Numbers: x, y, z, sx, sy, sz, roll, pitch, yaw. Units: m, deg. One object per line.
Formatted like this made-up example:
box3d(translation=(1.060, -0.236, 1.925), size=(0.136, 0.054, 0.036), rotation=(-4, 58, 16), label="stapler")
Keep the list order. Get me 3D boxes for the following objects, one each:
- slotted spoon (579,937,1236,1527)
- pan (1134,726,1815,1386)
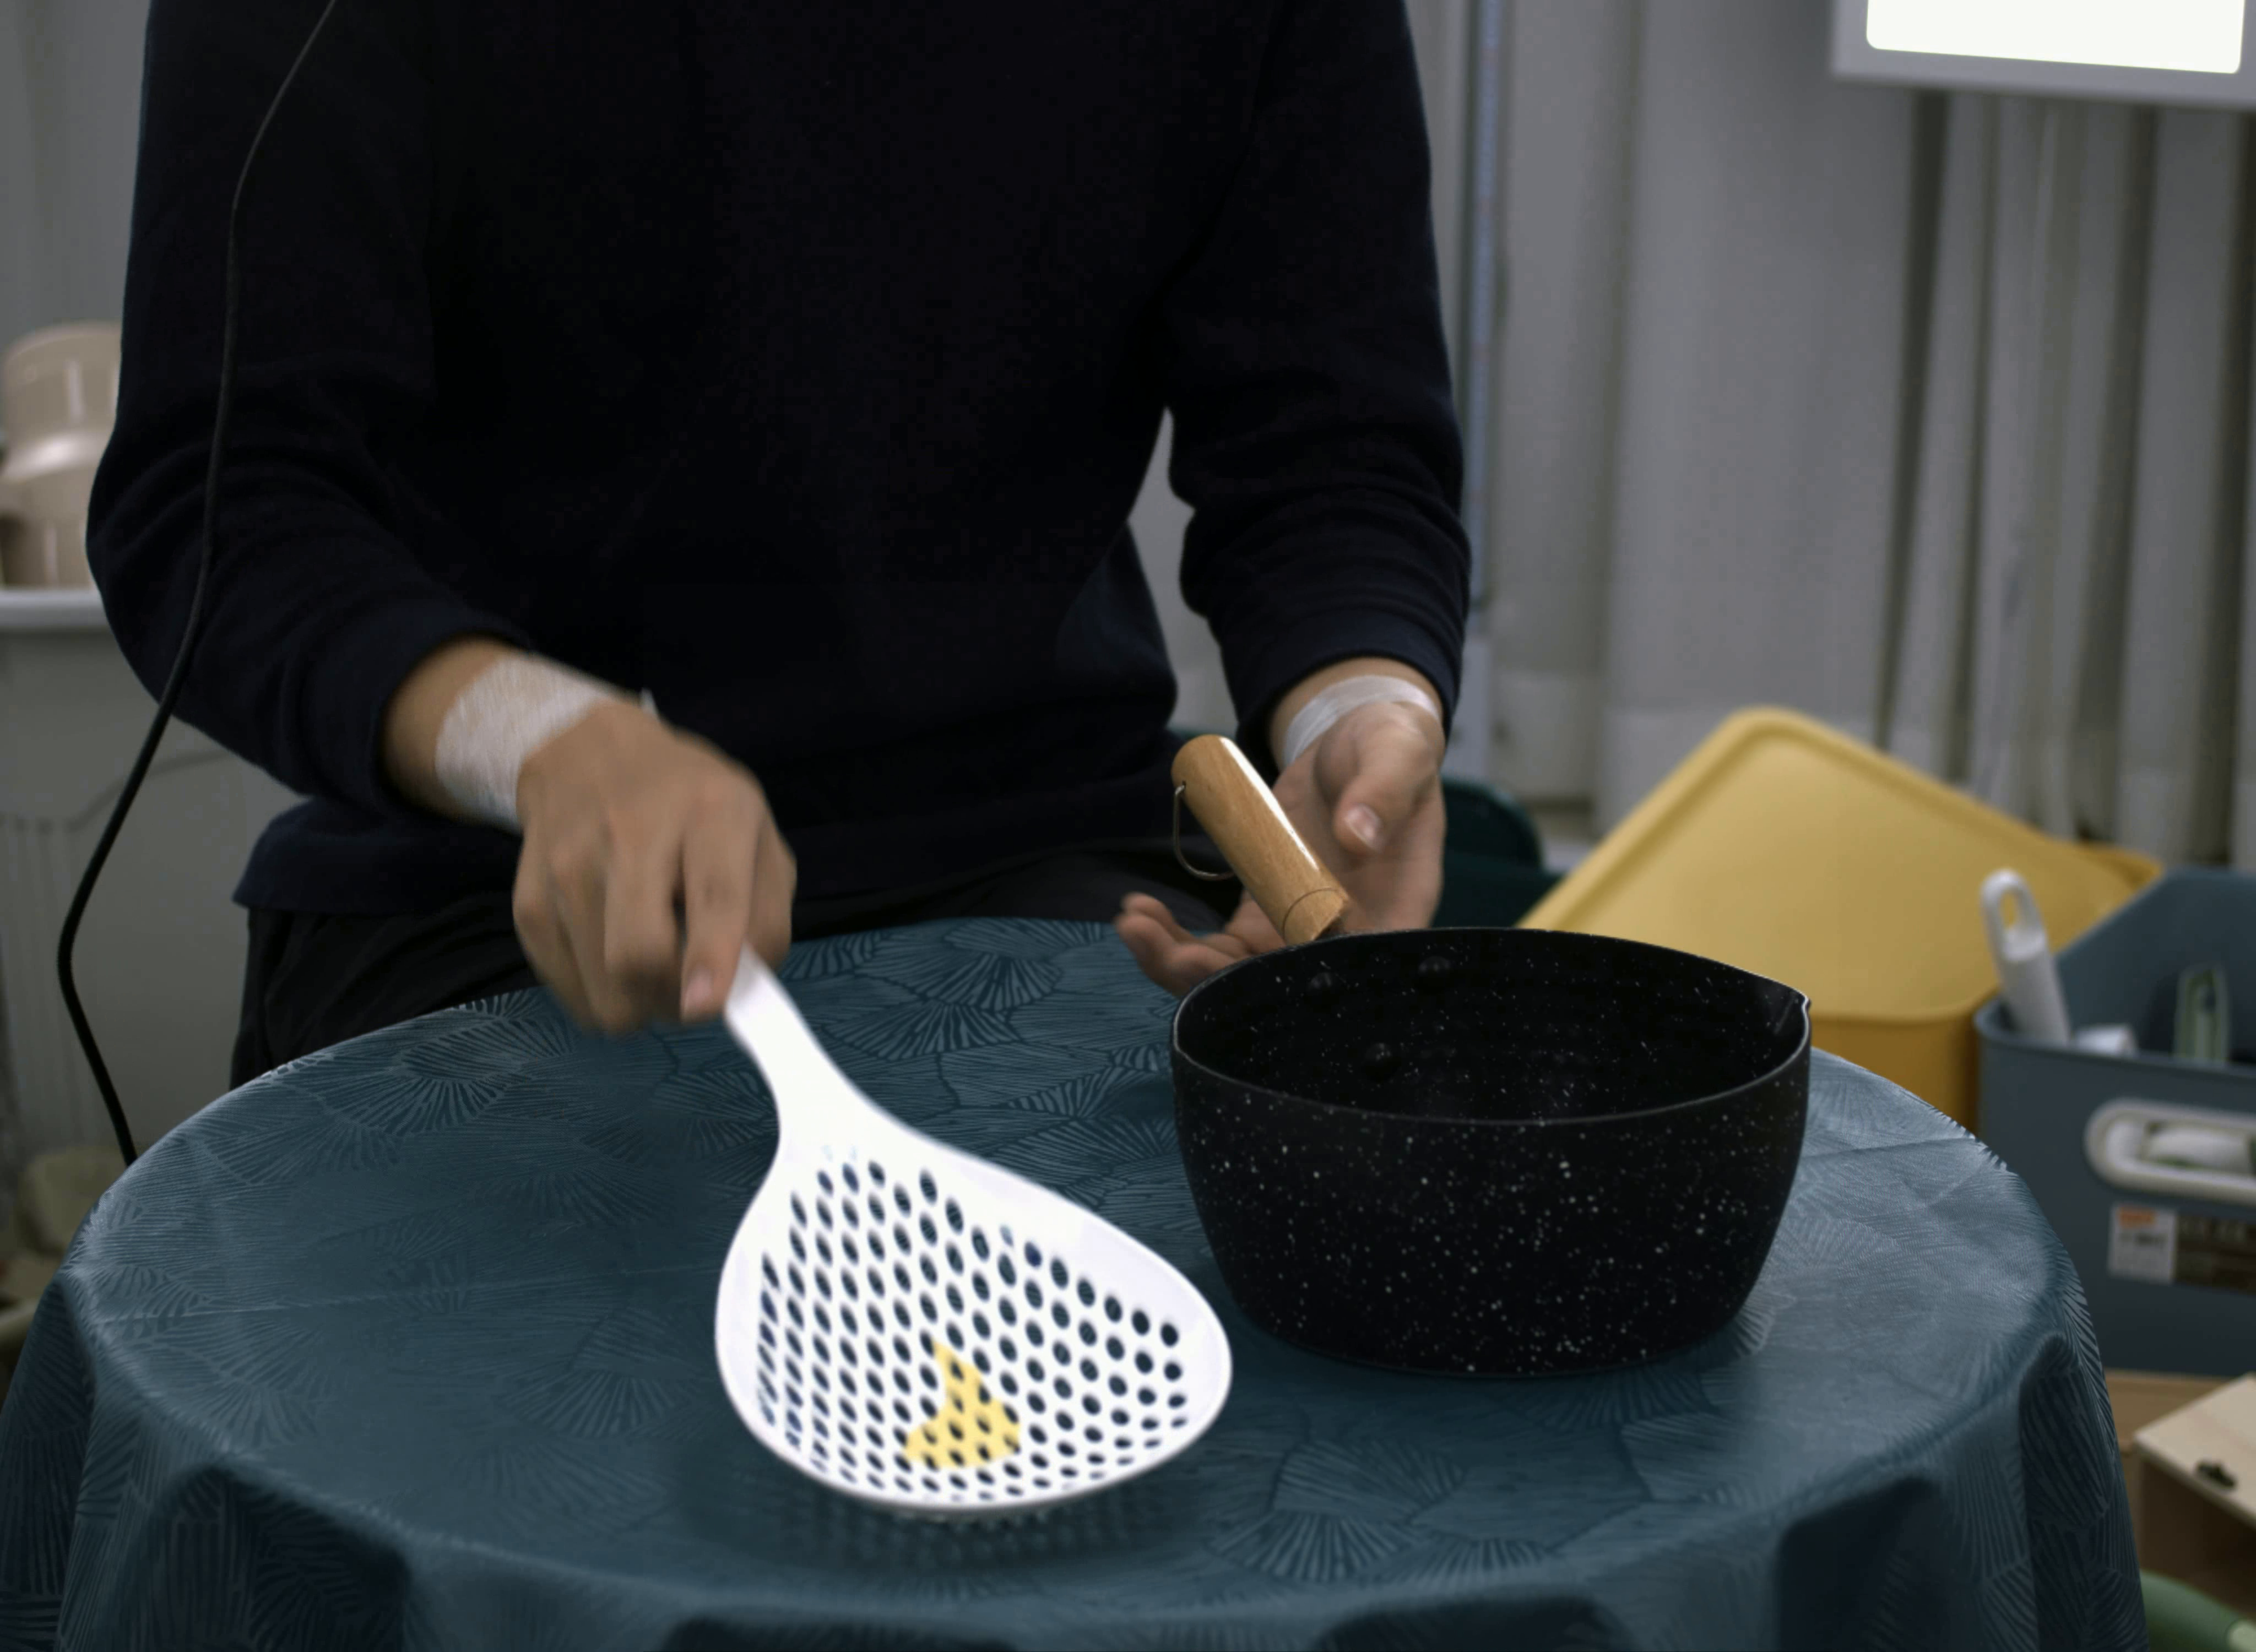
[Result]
box3d(translation=(-0.085, 0.100, 1.479), size=(0.137, 0.051, 0.343), rotation=(-13, 36, -21), label="slotted spoon")
box3d(translation=(0.077, 0.064, 1.597), size=(0.208, 0.109, 0.339), rotation=(-6, 18, -19), label="pan")
